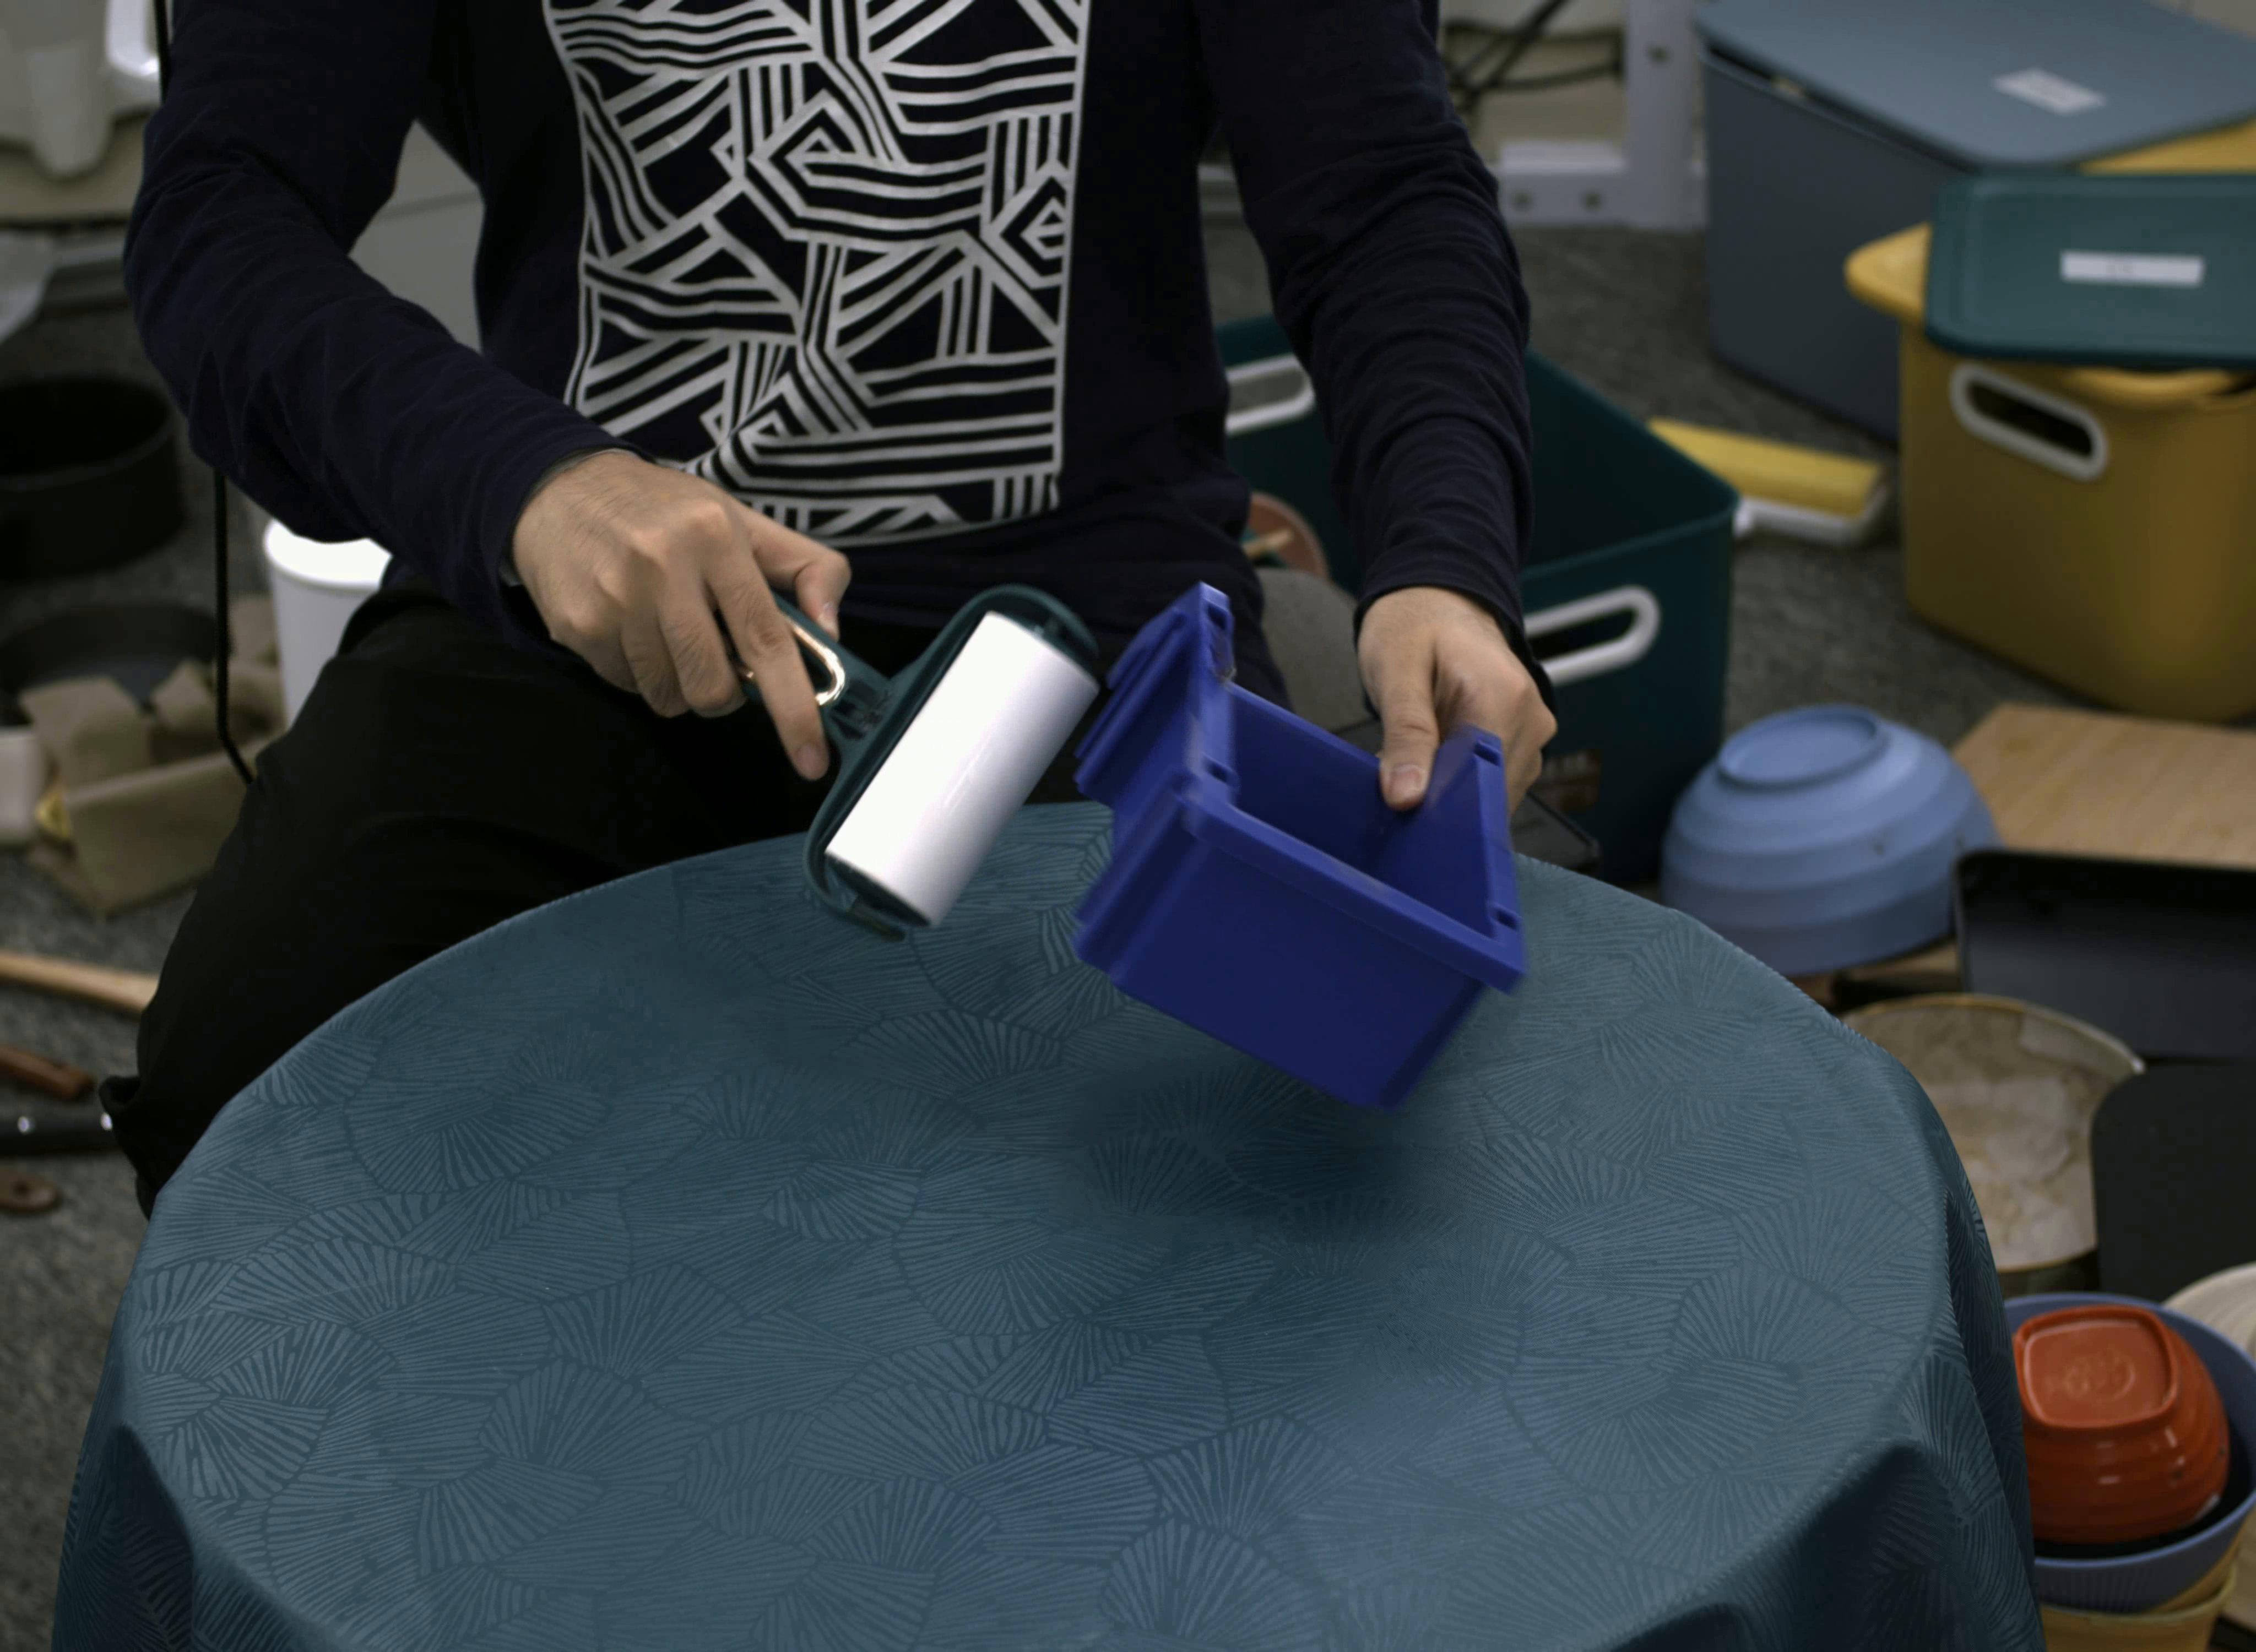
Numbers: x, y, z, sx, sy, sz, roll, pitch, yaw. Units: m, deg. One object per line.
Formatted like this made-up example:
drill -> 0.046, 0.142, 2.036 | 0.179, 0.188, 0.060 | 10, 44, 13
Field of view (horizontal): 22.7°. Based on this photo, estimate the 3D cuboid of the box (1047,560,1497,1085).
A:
box -> 0.049, -0.006, 1.861 | 0.124, 0.081, 0.182 | 27, 29, -11

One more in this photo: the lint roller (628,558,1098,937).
lint roller -> -0.108, -0.053, 1.934 | 0.180, 0.048, 0.135 | 30, 81, 24
